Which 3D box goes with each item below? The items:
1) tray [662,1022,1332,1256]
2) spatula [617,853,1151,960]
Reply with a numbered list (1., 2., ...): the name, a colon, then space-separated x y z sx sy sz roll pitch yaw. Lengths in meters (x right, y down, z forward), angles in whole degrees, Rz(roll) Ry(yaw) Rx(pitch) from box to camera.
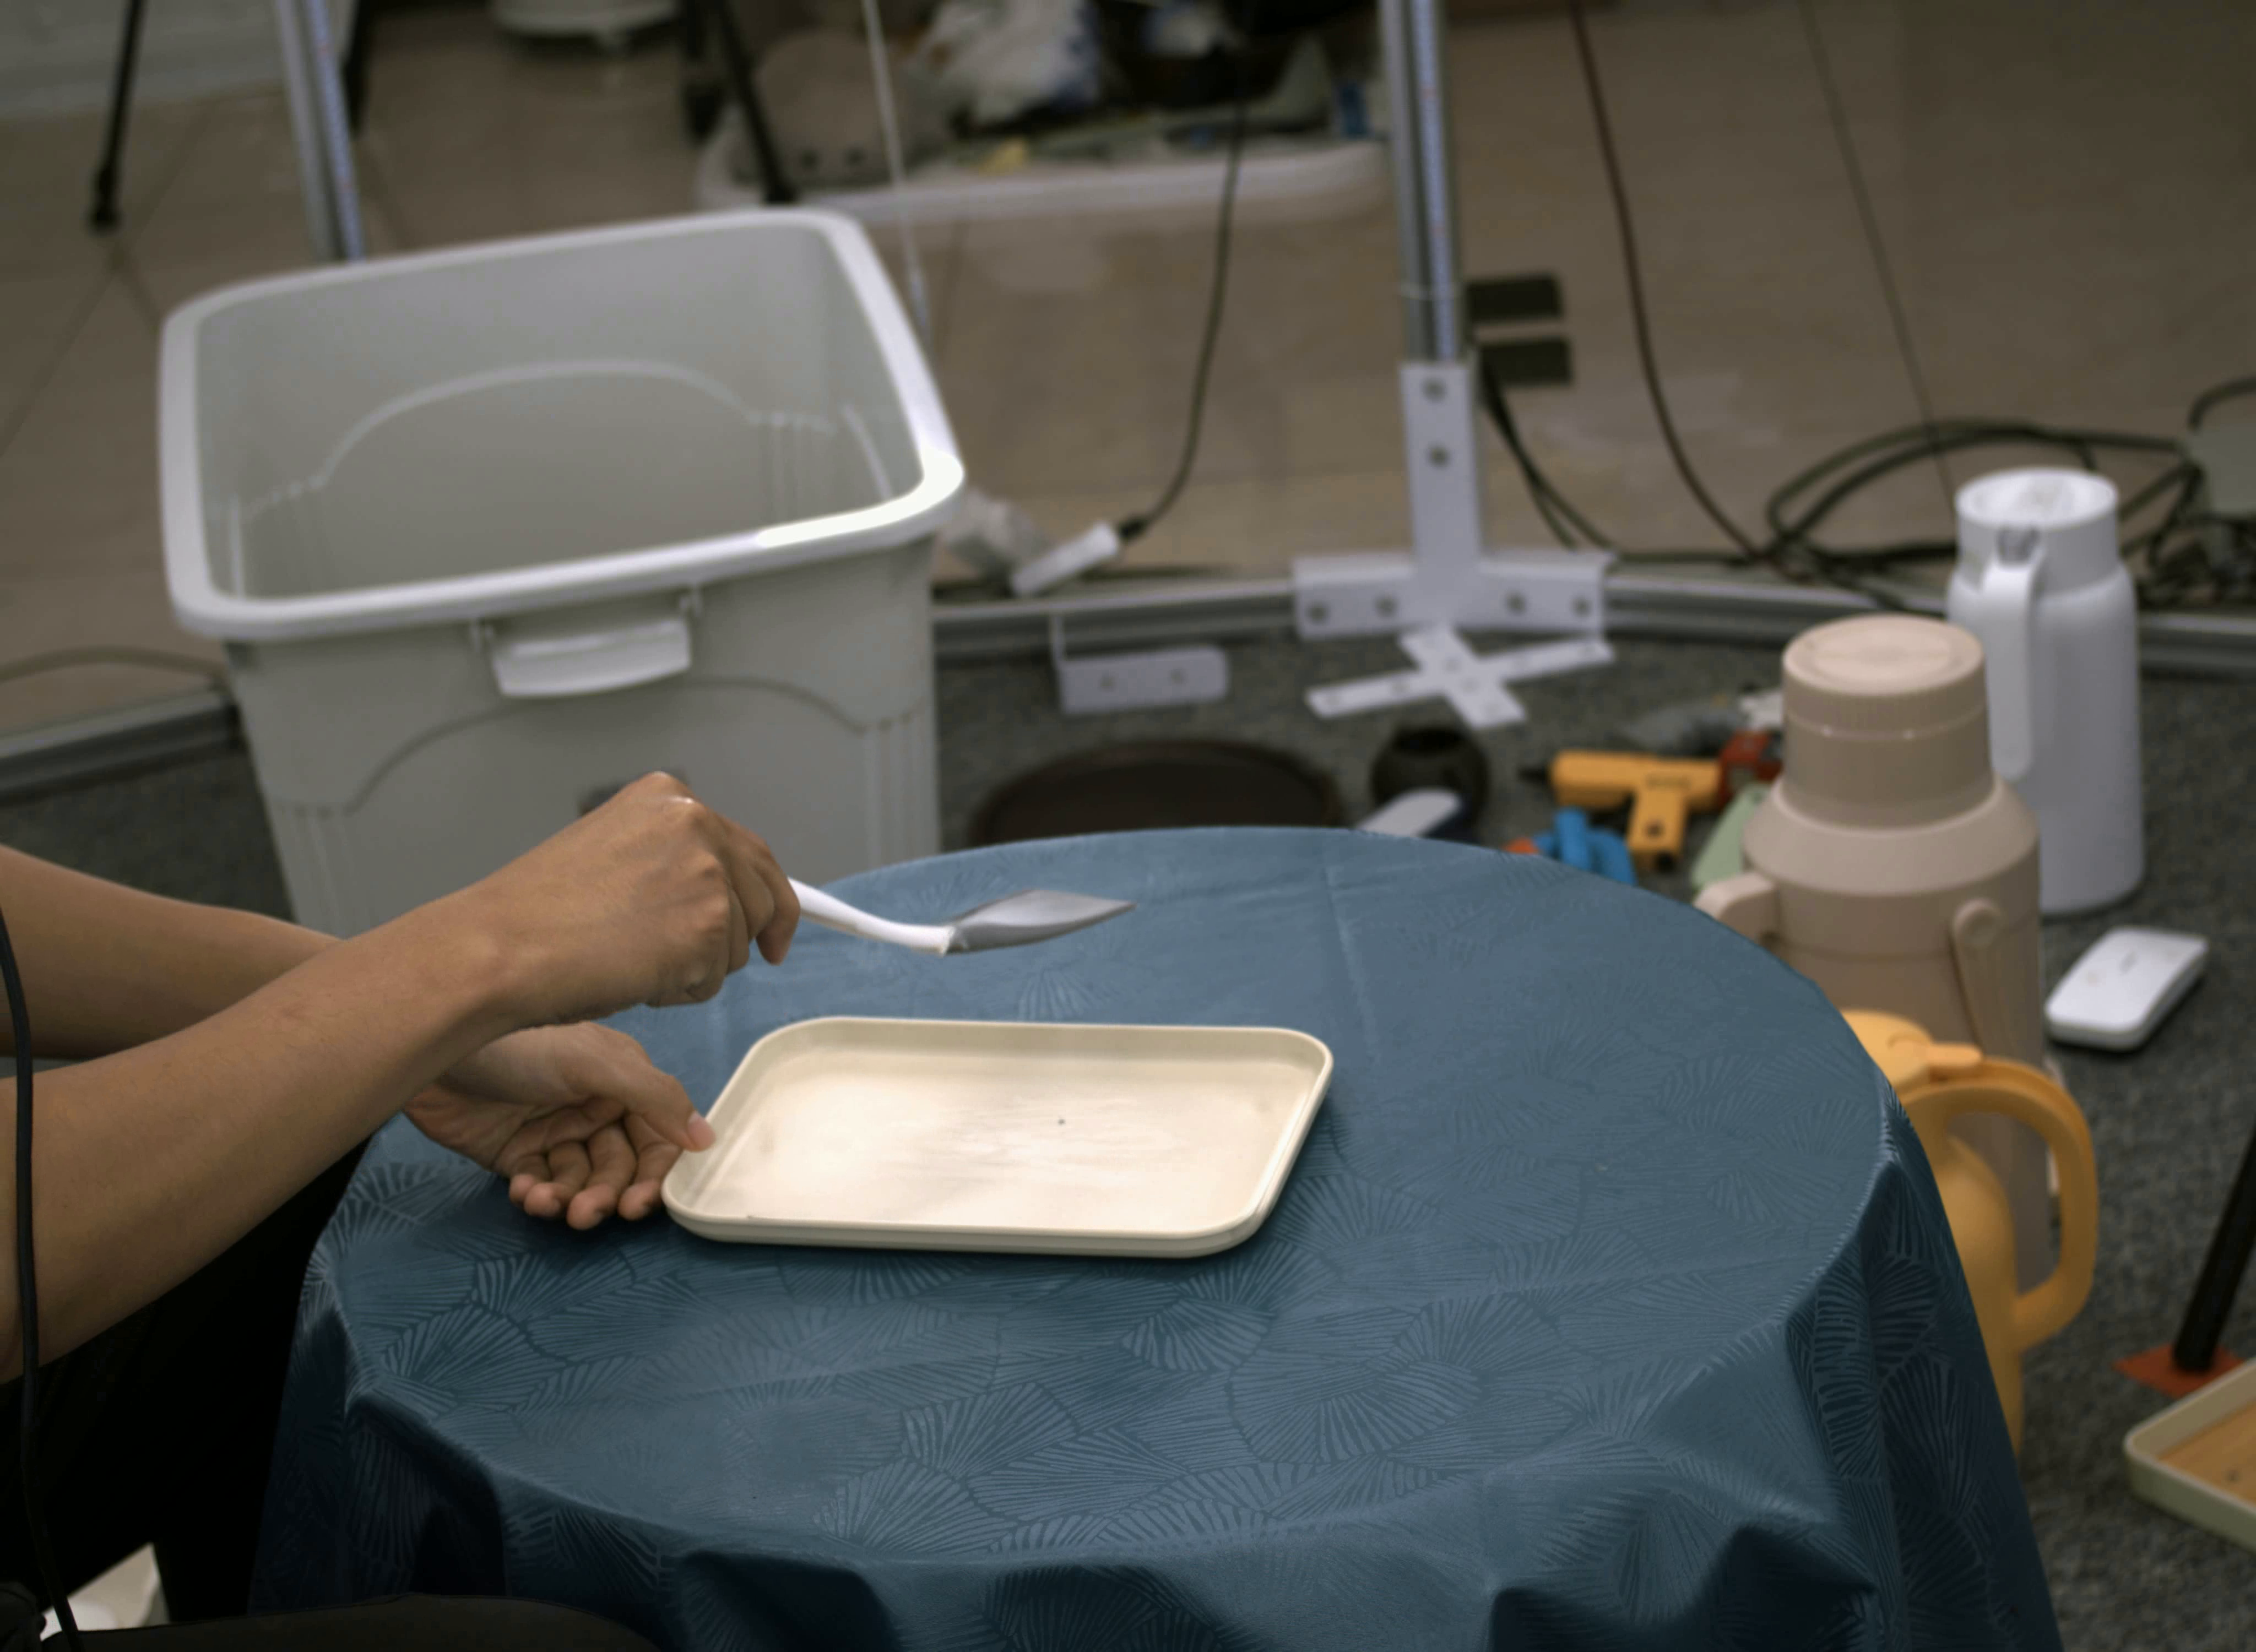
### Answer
1. tray: -0.048 0.121 2.182 0.239 0.018 0.169 1 25 15
2. spatula: -0.089 0.032 2.083 0.058 0.032 0.288 3 -1 33
